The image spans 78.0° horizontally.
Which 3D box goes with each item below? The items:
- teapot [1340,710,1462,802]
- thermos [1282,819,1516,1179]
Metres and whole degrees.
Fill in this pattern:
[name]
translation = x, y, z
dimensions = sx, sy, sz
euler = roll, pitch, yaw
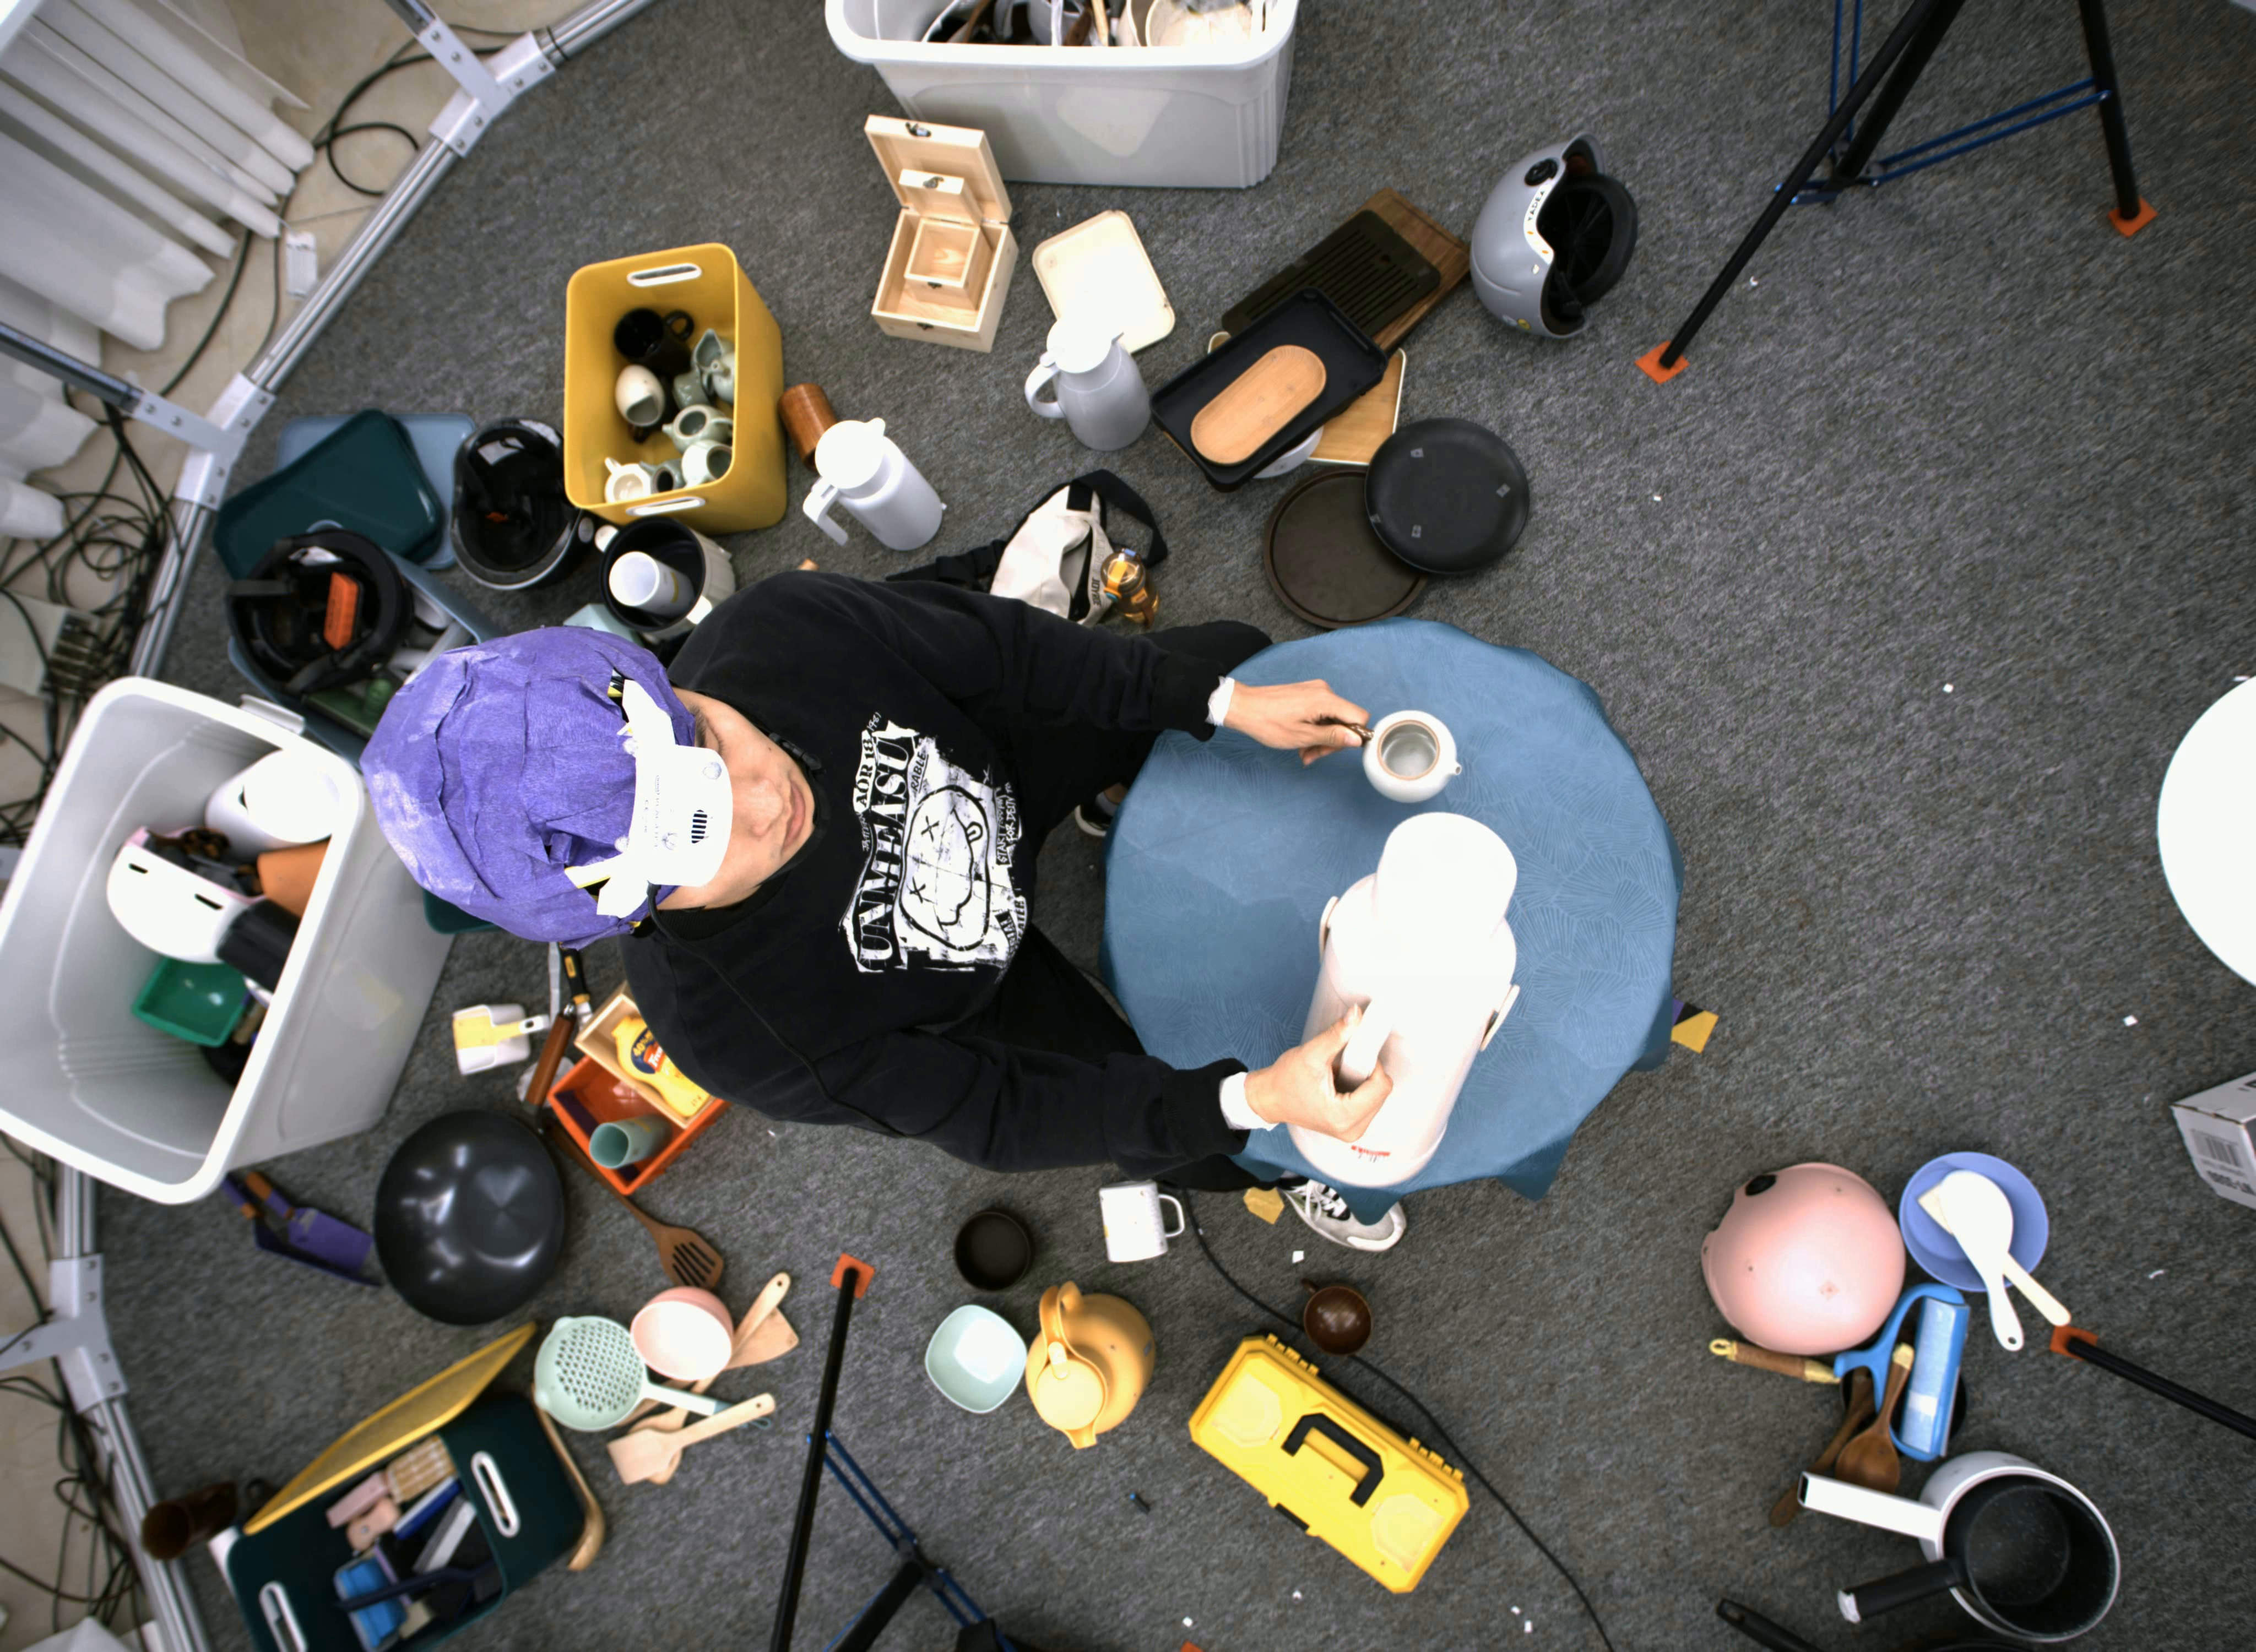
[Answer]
[teapot]
translation = 0.270, -0.074, 1.360
dimensions = 0.128, 0.059, 0.092
euler = 22, 90, 16
[thermos]
translation = 0.234, 0.168, 1.232
dimensions = 0.175, 0.416, 0.202
euler = 27, 55, 16
